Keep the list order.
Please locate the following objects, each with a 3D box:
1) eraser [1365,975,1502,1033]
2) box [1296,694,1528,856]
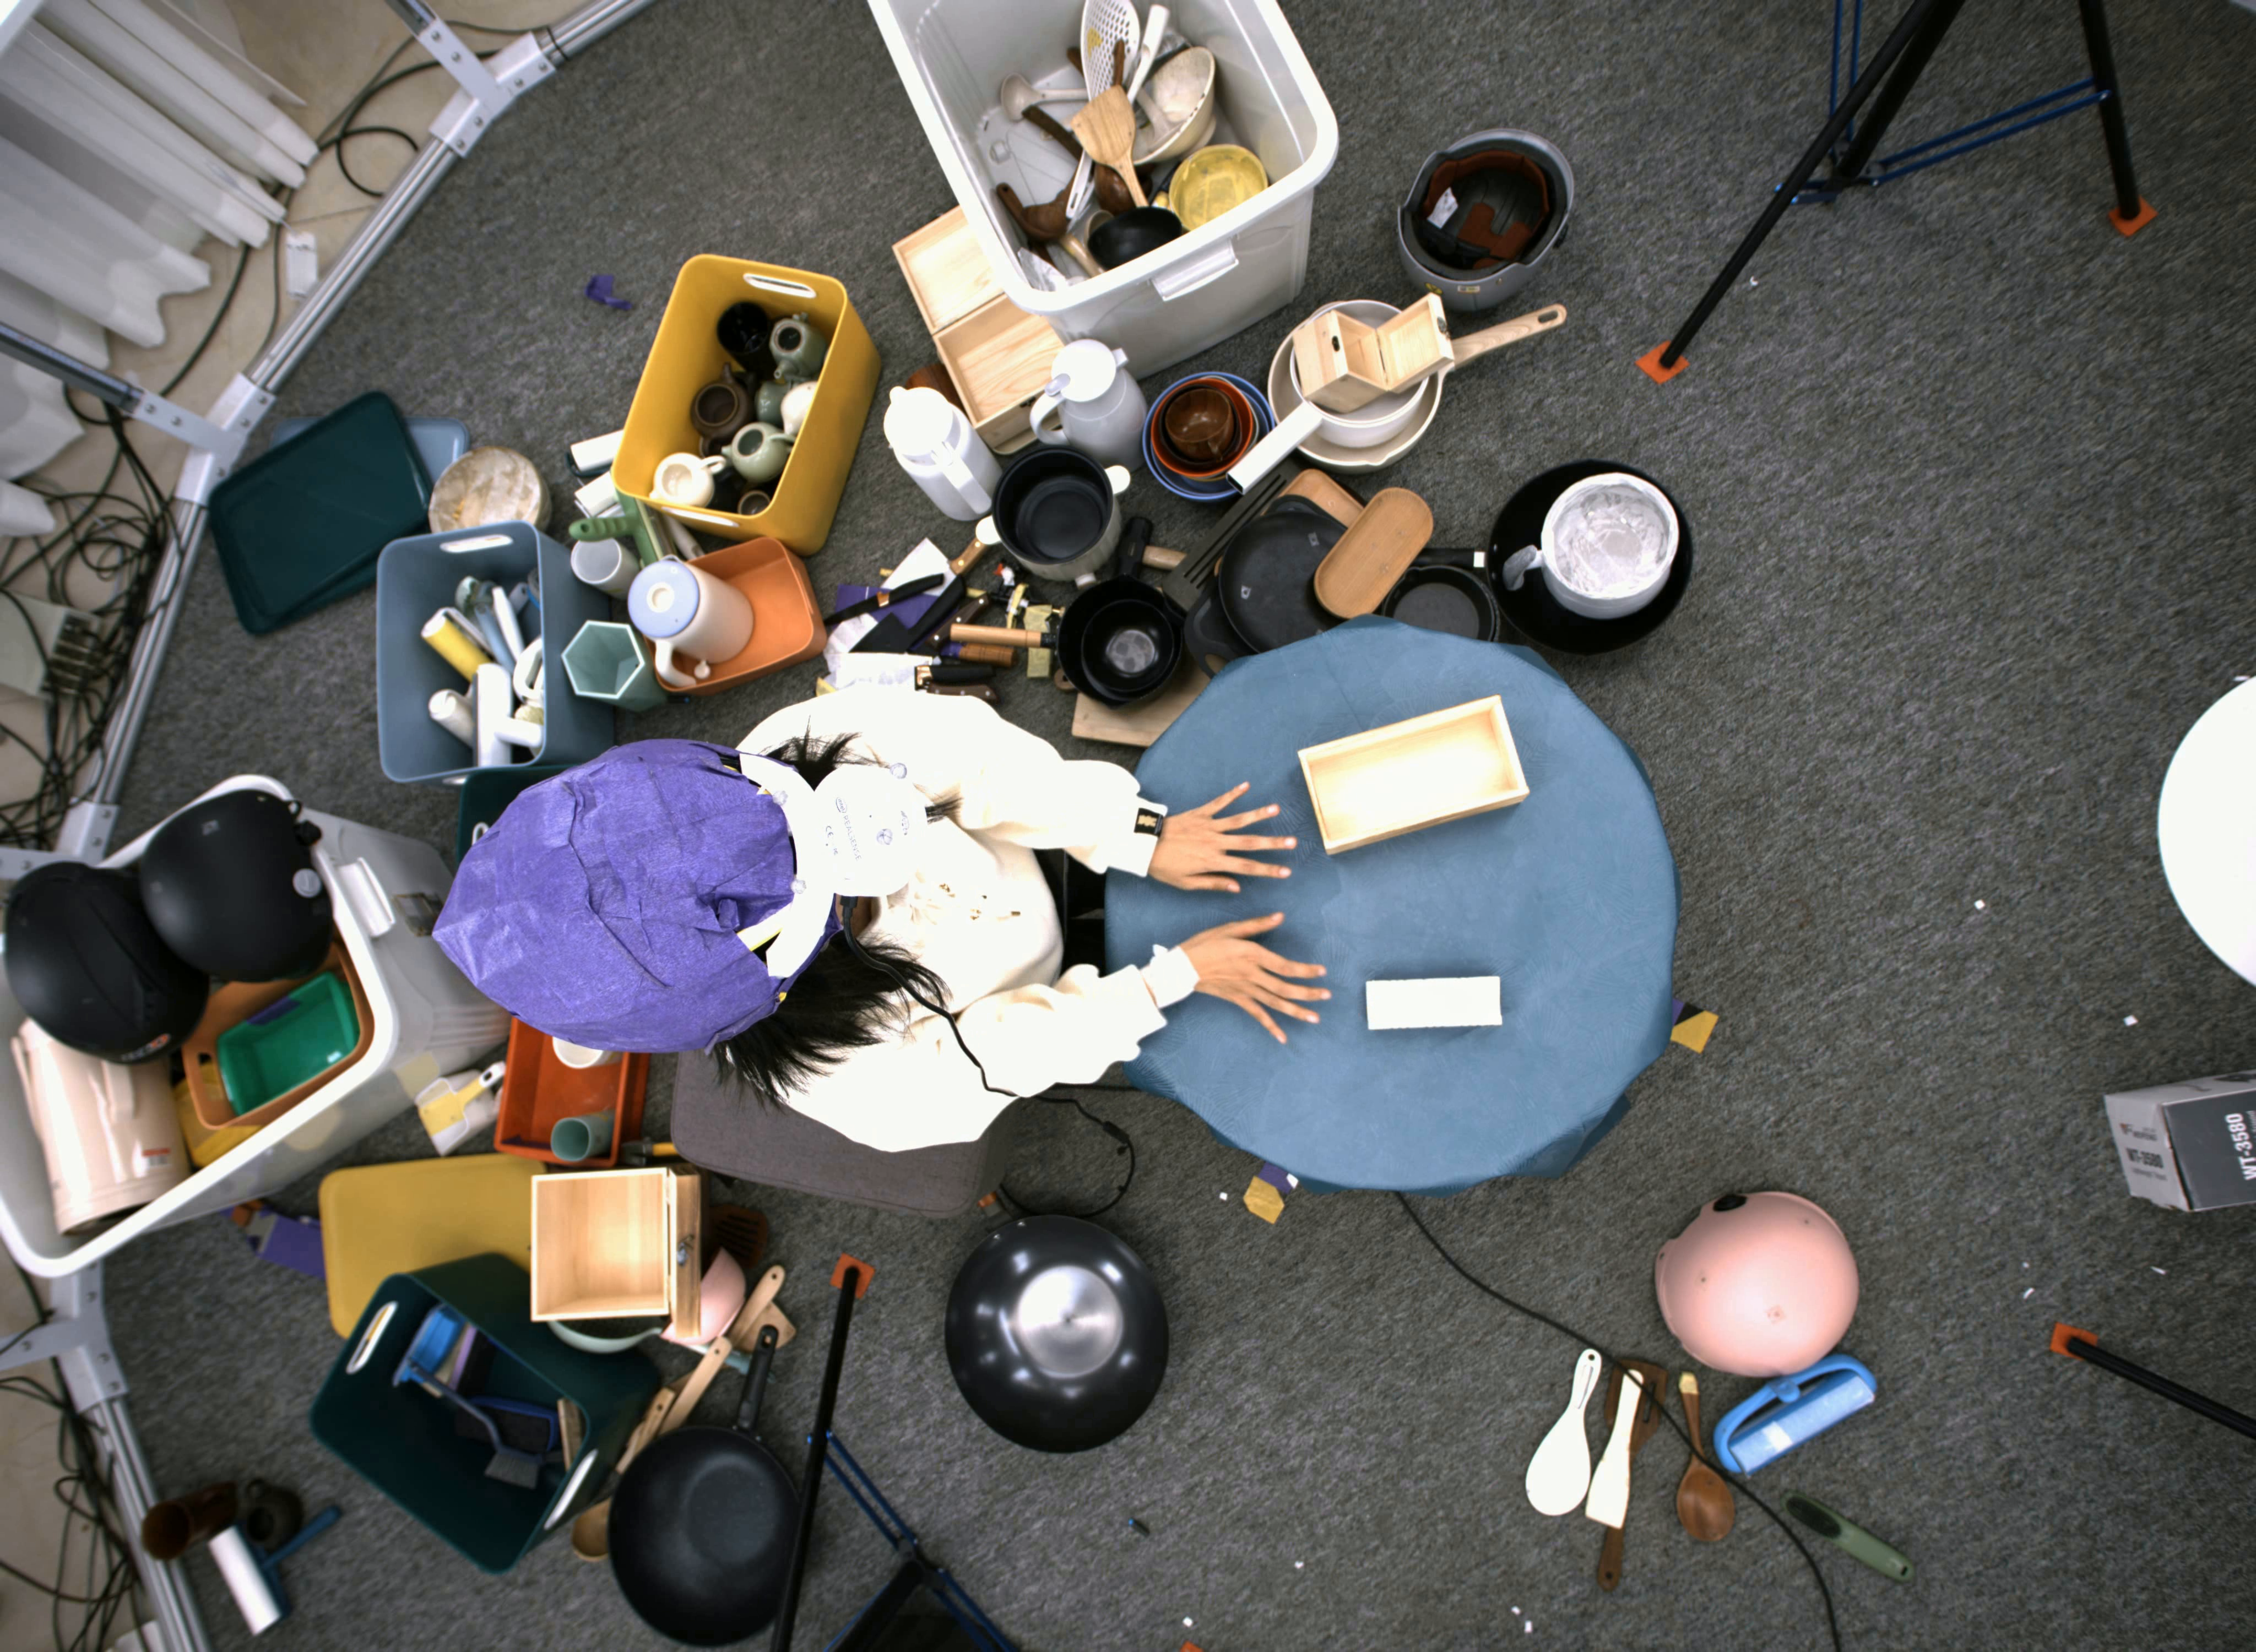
[{"bbox_3d":[0.314,0.182,1.422,0.135,0.046,0.049,-6,86,9],"label":"eraser"},{"bbox_3d":[0.291,-0.052,1.423,0.212,0.080,0.107,-17,83,8],"label":"box"}]
